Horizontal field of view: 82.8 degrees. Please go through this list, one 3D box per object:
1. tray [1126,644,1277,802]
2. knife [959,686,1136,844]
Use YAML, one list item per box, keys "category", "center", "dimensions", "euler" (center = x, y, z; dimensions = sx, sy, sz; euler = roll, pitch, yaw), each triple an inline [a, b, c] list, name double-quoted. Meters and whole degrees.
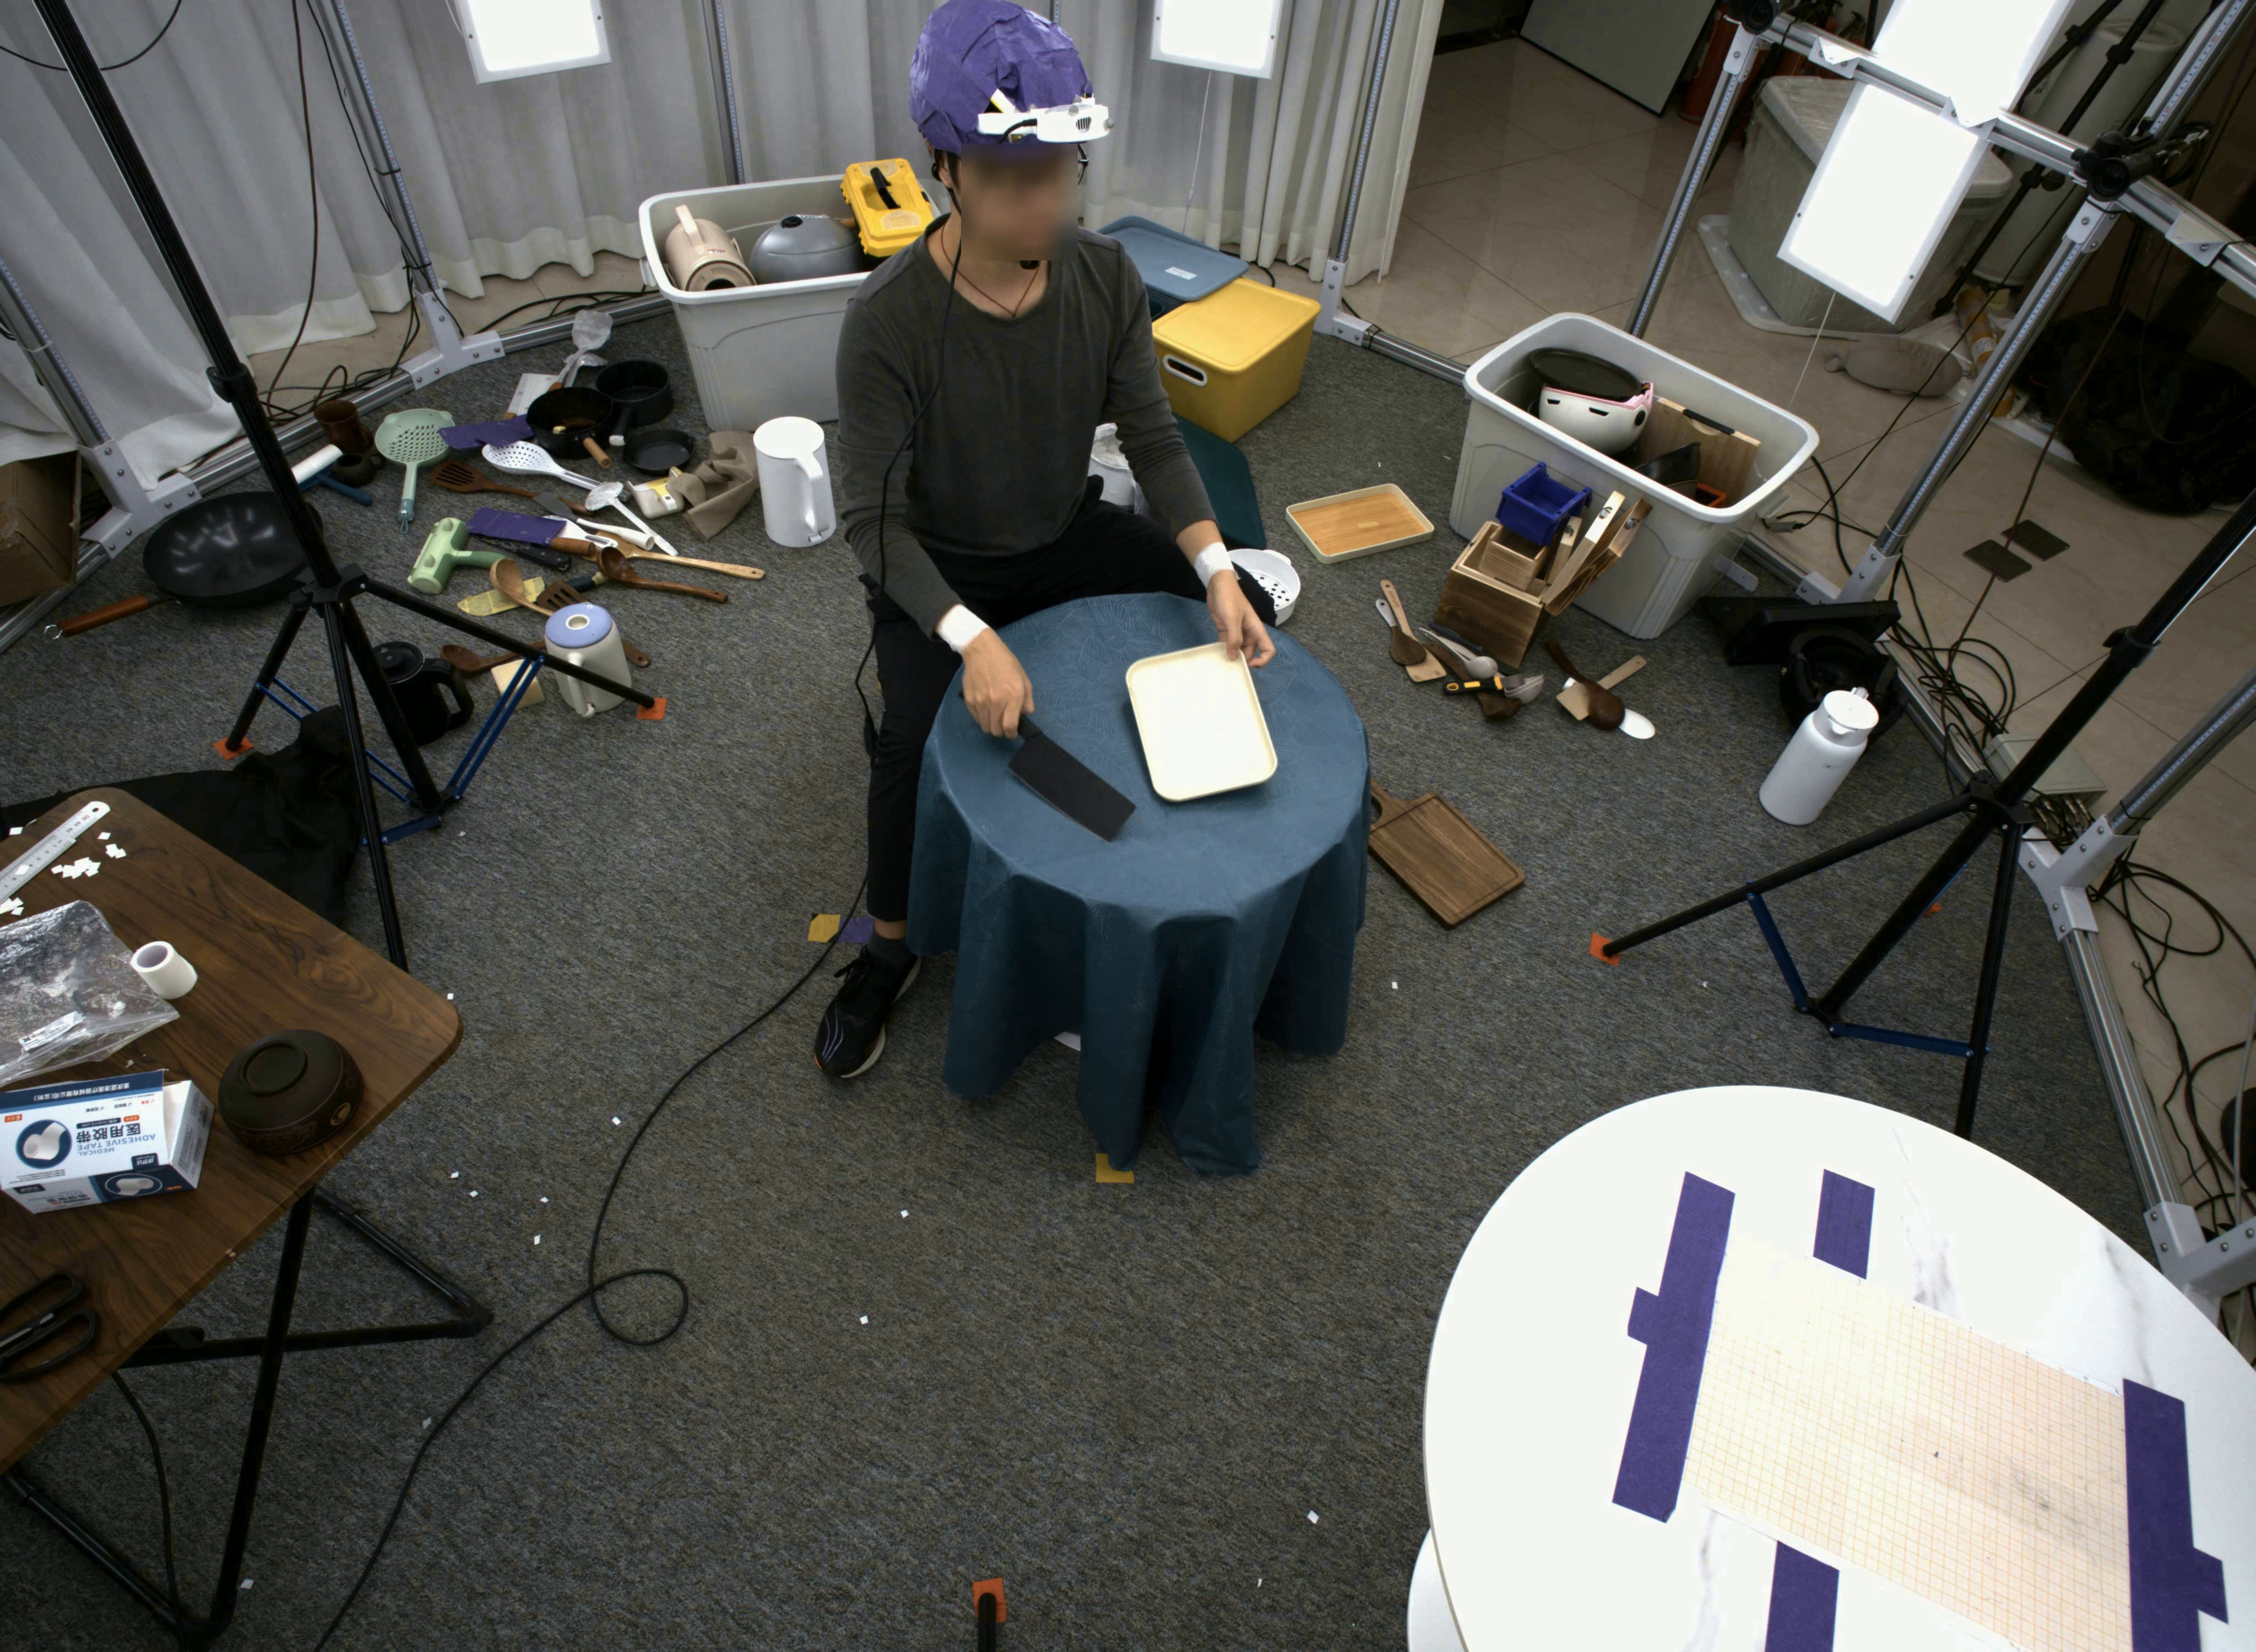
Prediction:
- category: "tray"
  center: [0.098, -0.142, 1.755]
  dimensions: [0.171, 0.017, 0.245]
  euler: [-13, 57, -1]
- category: "knife"
  center: [-0.116, -0.087, 1.699]
  dimensions: [0.306, 0.020, 0.081]
  euler: [42, 88, 21]
